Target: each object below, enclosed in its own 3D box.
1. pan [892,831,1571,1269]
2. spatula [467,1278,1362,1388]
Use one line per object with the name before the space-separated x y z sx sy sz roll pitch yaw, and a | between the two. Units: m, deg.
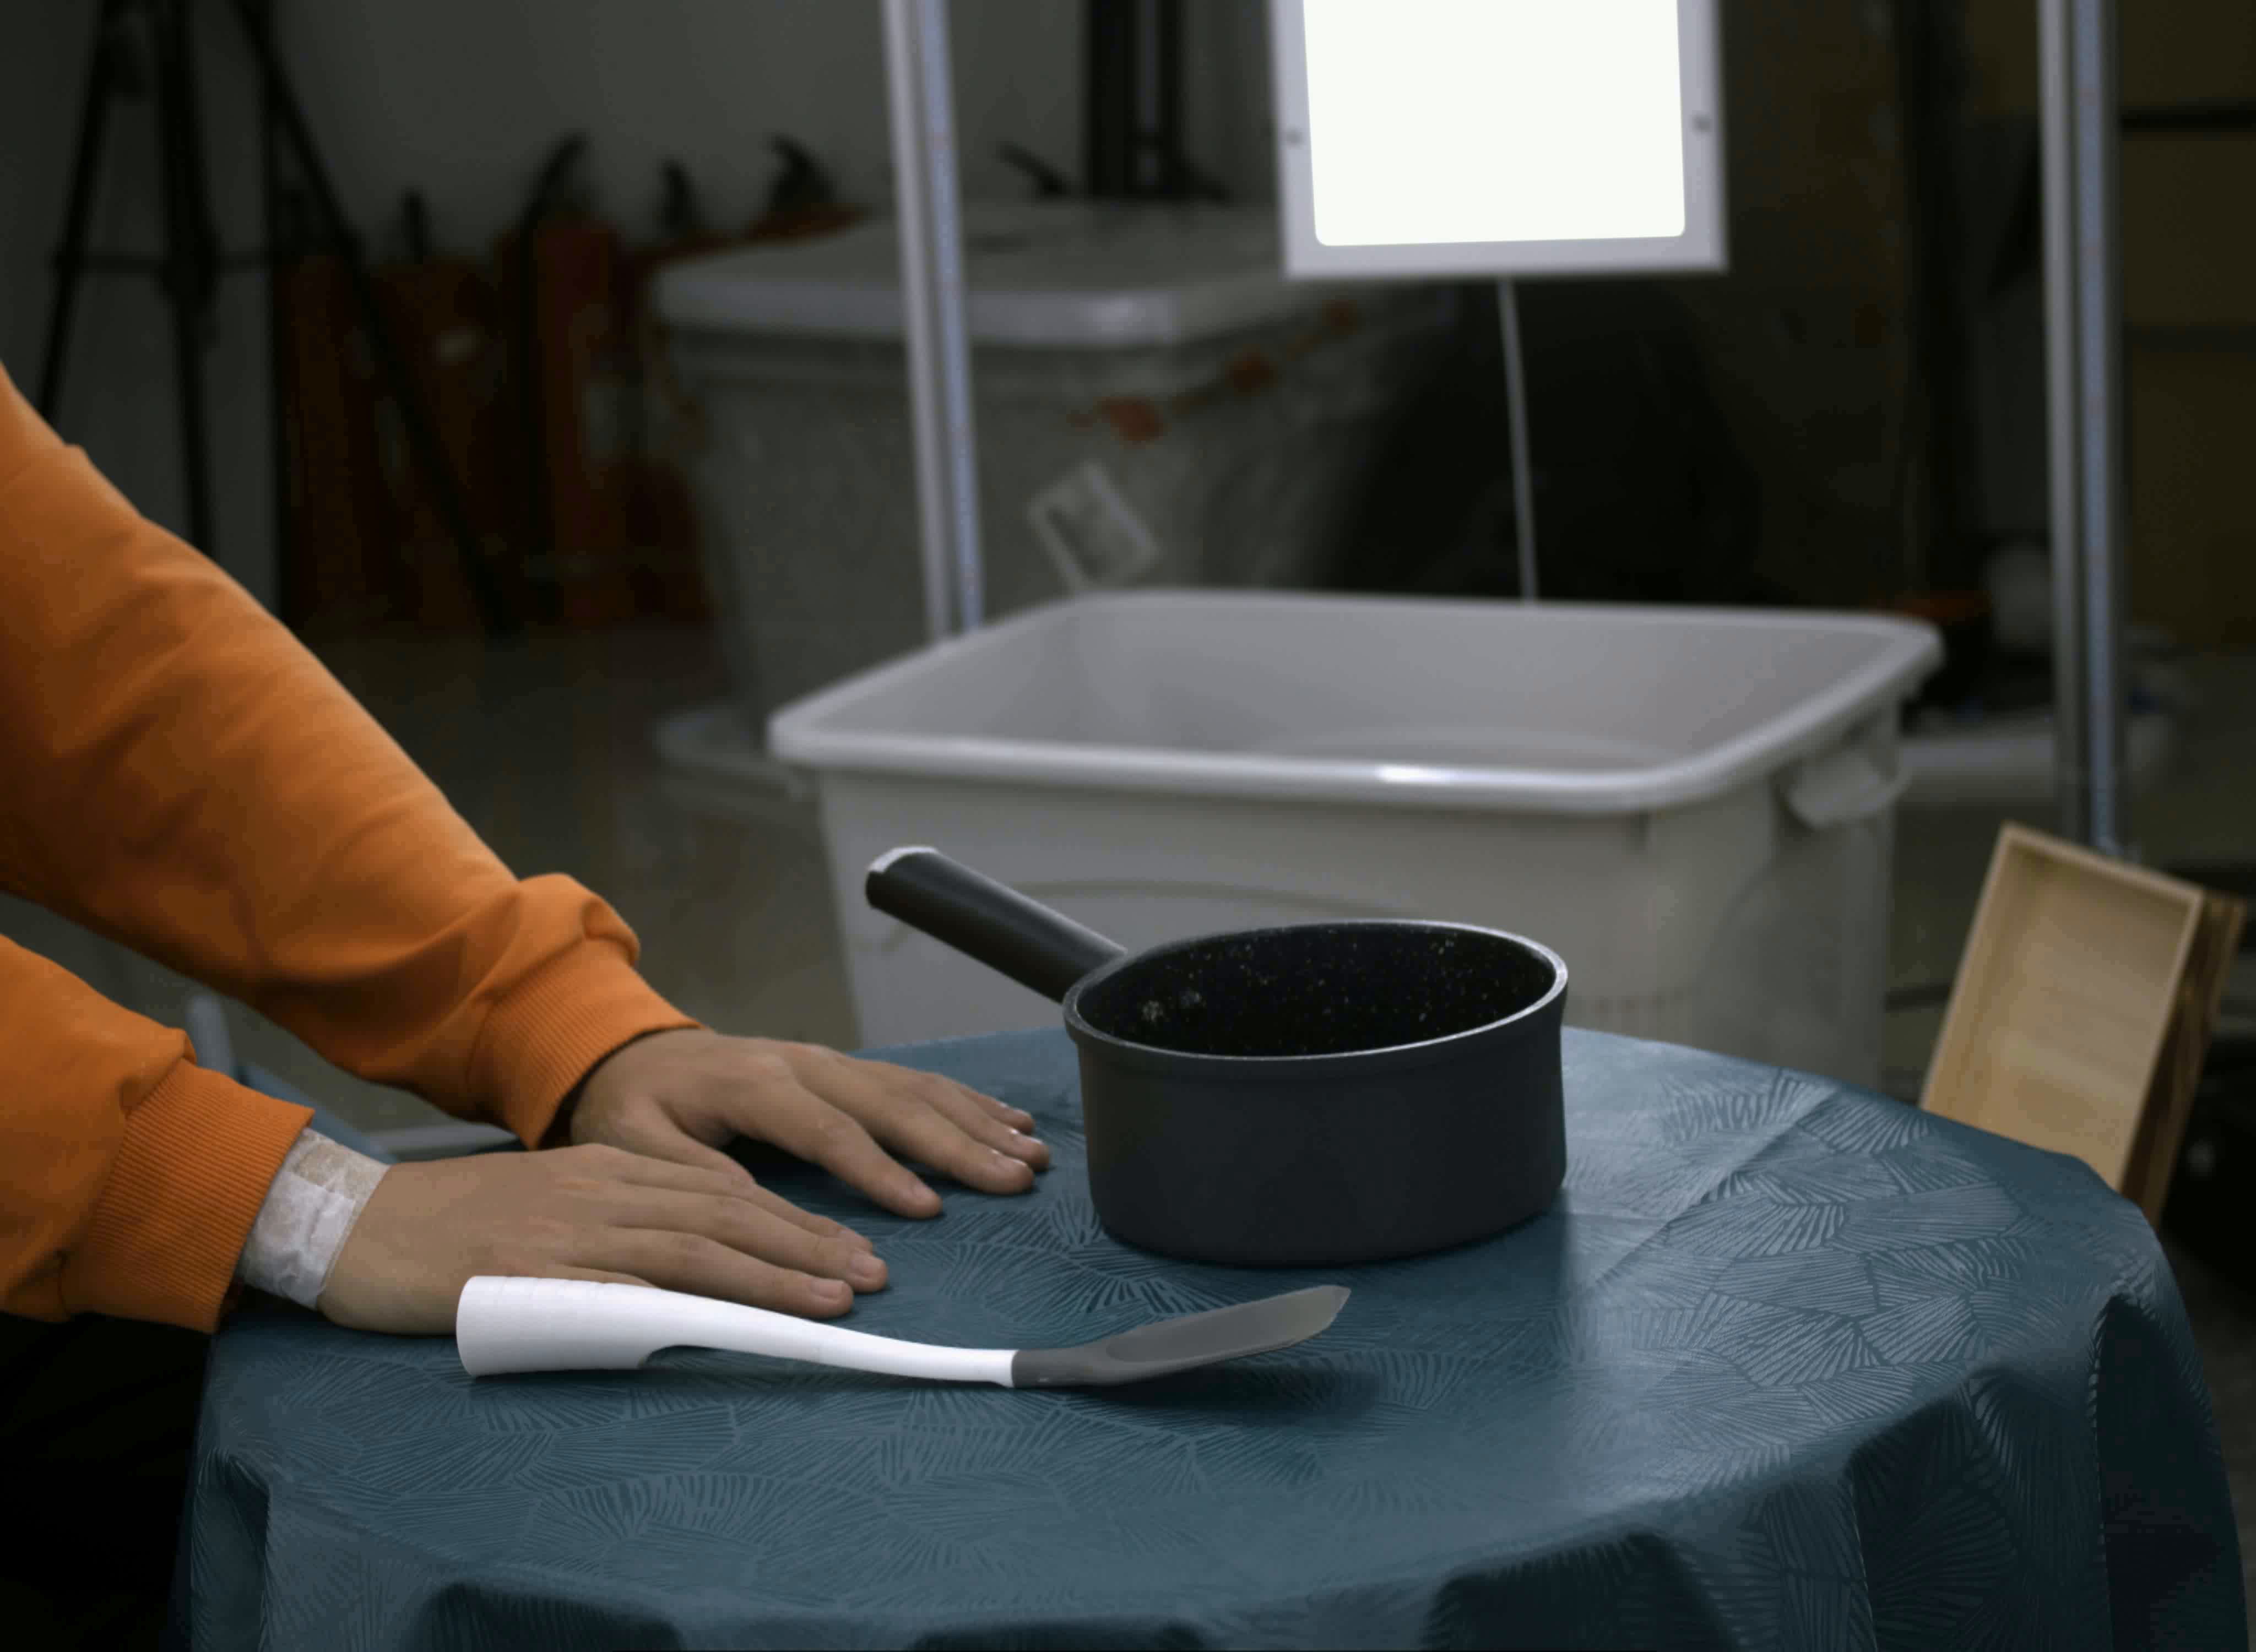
pan | 0.019 0.073 1.926 0.168 0.087 0.335 -14 18 -33
spatula | -0.068 0.159 1.724 0.291 0.032 0.058 -1 11 18
